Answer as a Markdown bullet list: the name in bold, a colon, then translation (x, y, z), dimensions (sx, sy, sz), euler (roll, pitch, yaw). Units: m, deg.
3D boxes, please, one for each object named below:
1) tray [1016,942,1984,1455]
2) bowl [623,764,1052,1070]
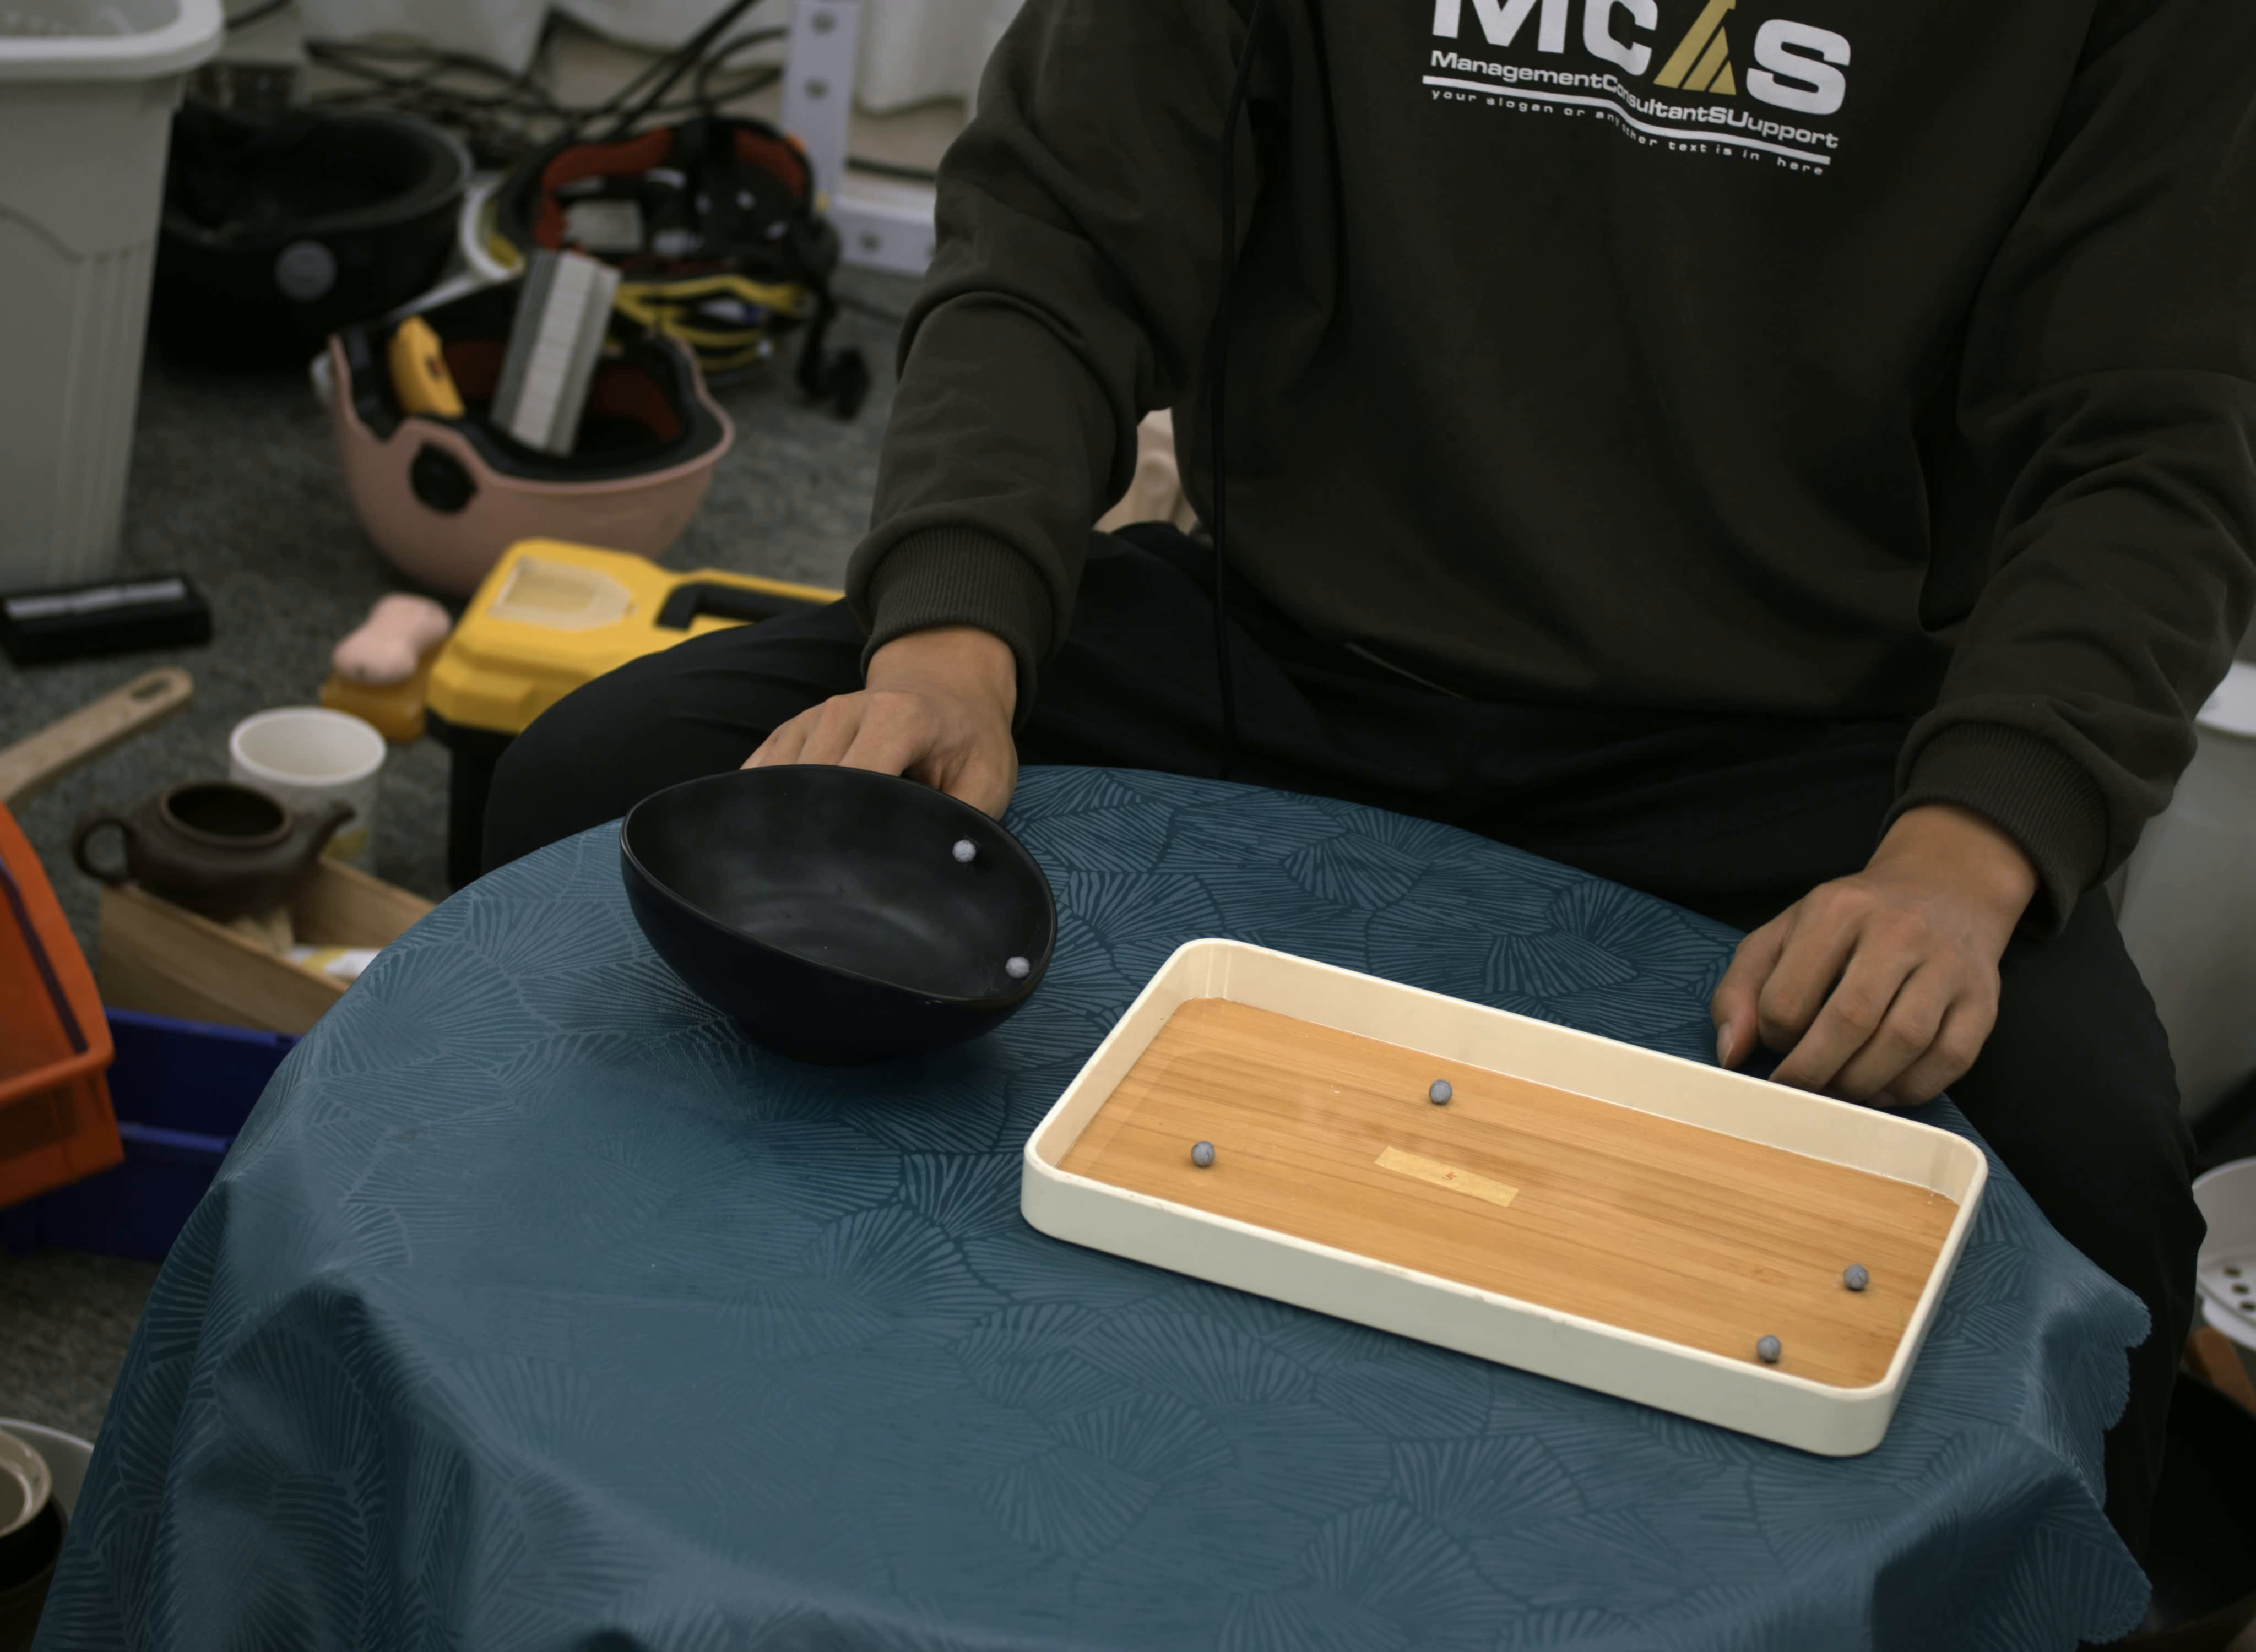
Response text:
- **tray**: translation (0.129, 0.122, 1.810), dimensions (0.301, 0.027, 0.192), euler (14, 27, 15)
- **bowl**: translation (-0.104, 0.040, 1.878), dimensions (0.171, 0.066, 0.137), euler (27, 34, 31)
